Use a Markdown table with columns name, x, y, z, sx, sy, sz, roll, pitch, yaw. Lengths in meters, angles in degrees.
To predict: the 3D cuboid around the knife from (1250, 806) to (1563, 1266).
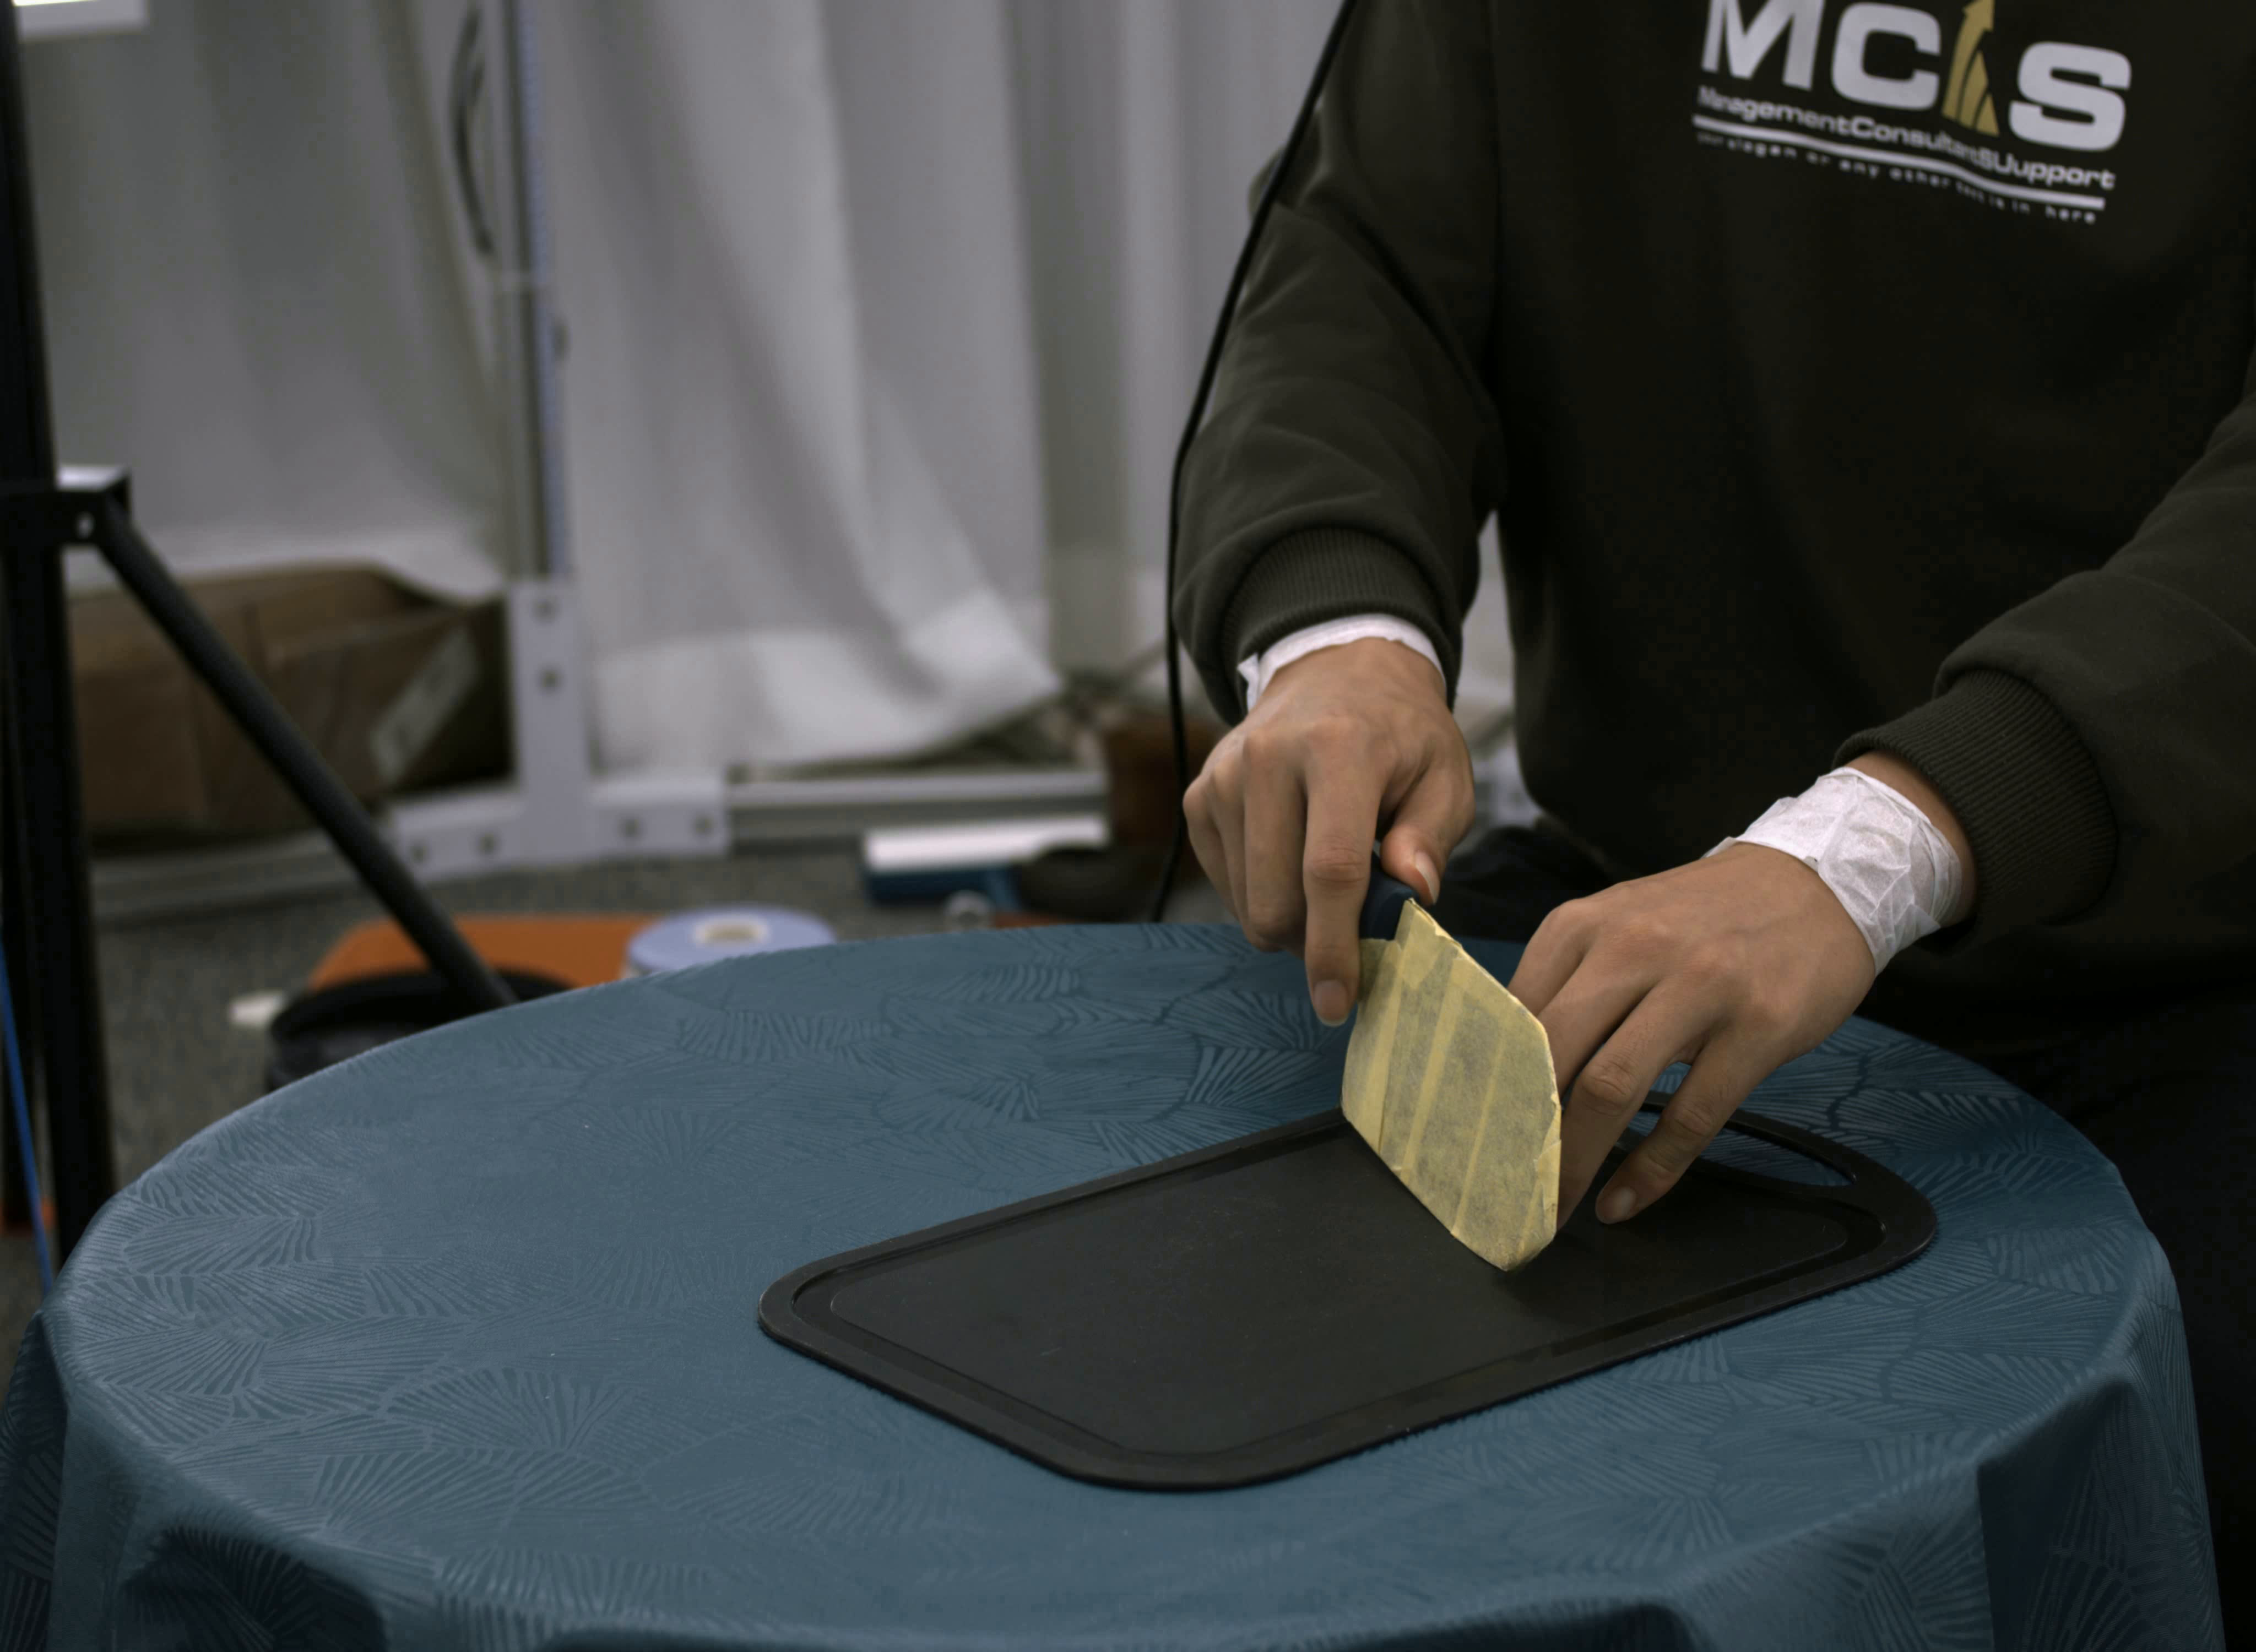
| name | x | y | z | sx | sy | sz | roll | pitch | yaw |
| --- | --- | --- | --- | --- | --- | --- | --- | --- | --- |
| knife | 0.080 | 0.057 | 1.576 | 0.027 | 0.081 | 0.294 | 12 | 16 | -18 |

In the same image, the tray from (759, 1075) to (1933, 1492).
| name | x | y | z | sx | sy | sz | roll | pitch | yaw |
| --- | --- | --- | --- | --- | --- | --- | --- | --- | --- |
| tray | 0.069 | 0.120 | 1.495 | 0.318 | 0.010 | 0.216 | -14 | 19 | -35 |
